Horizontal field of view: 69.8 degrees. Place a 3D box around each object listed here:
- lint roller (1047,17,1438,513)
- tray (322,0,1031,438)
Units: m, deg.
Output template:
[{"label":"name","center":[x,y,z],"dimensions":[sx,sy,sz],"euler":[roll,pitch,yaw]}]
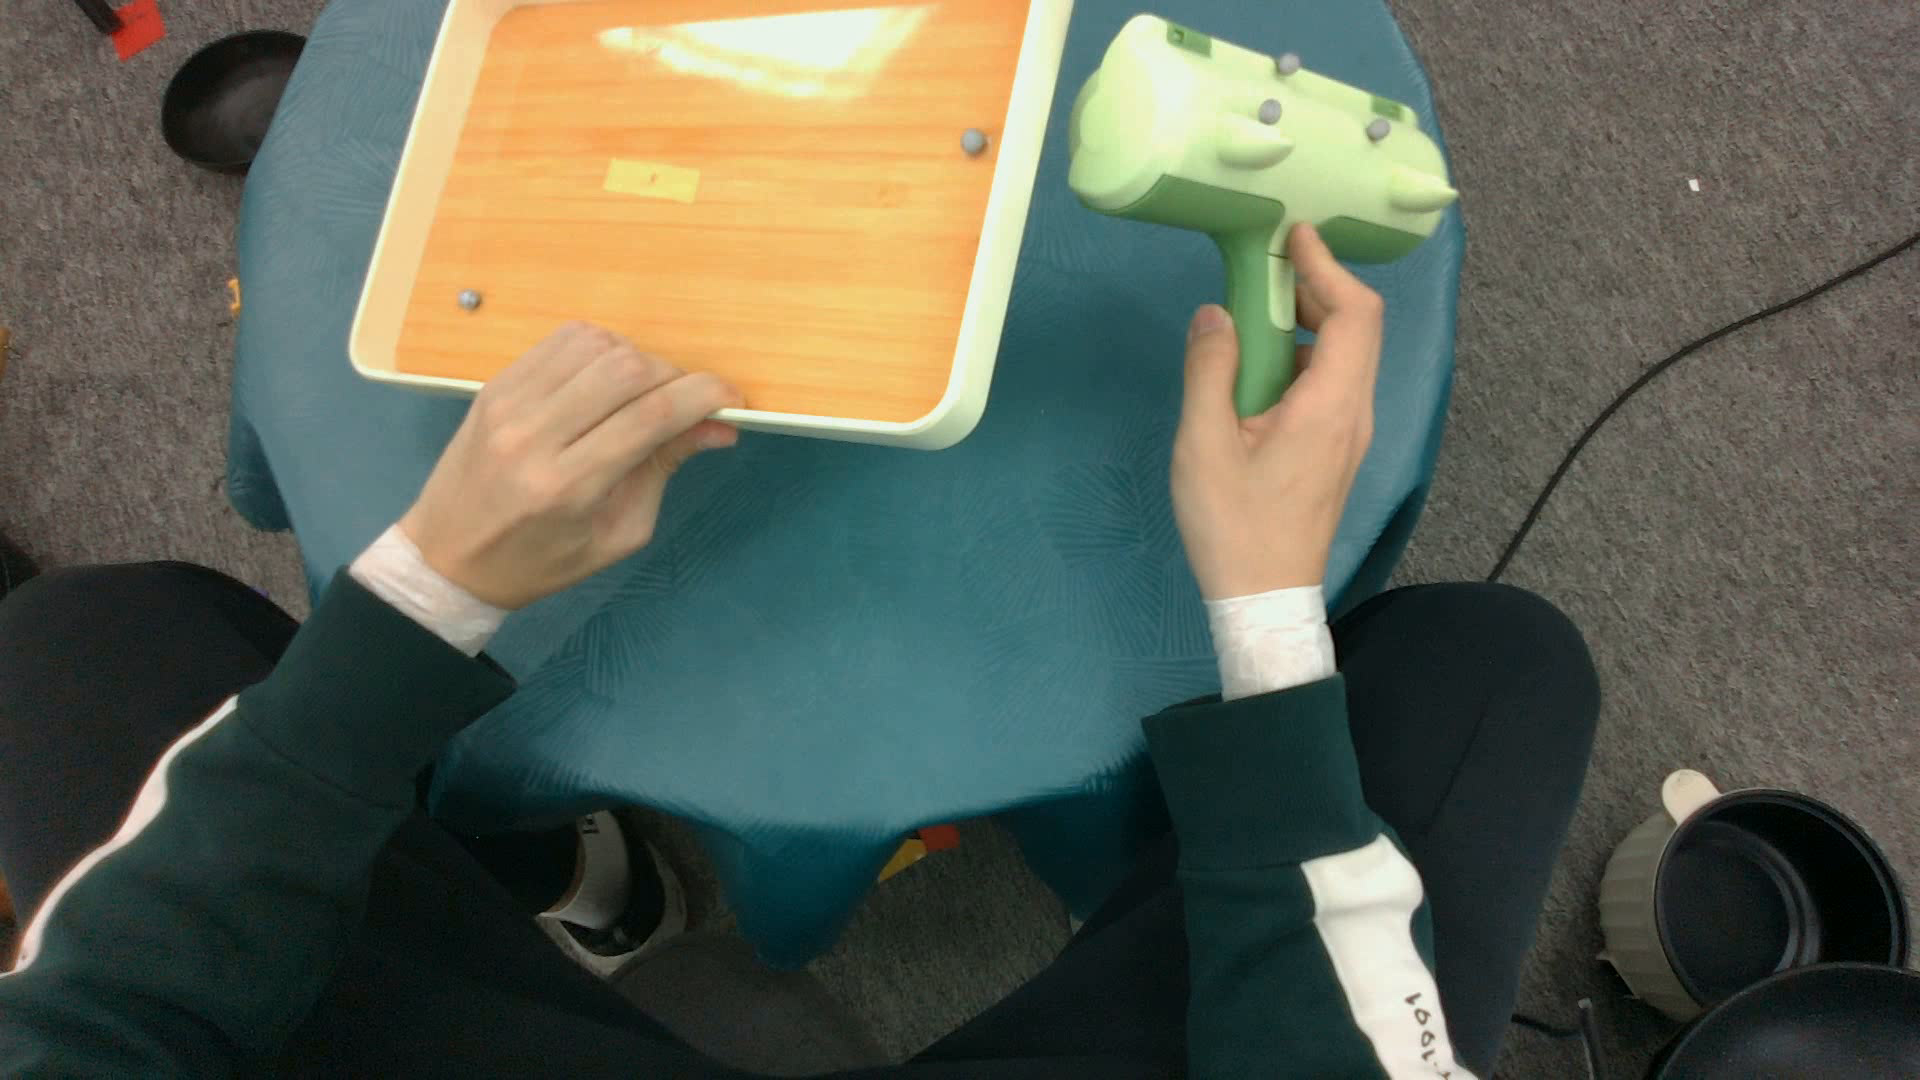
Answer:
[{"label":"lint roller","center":[0.129,-0.105,0.563],"dimensions":[0.199,0.082,0.183],"euler":[-2,86,-39]},{"label":"tray","center":[-0.125,-0.144,0.560],"dimensions":[0.300,0.027,0.192],"euler":[6,81,24]}]
